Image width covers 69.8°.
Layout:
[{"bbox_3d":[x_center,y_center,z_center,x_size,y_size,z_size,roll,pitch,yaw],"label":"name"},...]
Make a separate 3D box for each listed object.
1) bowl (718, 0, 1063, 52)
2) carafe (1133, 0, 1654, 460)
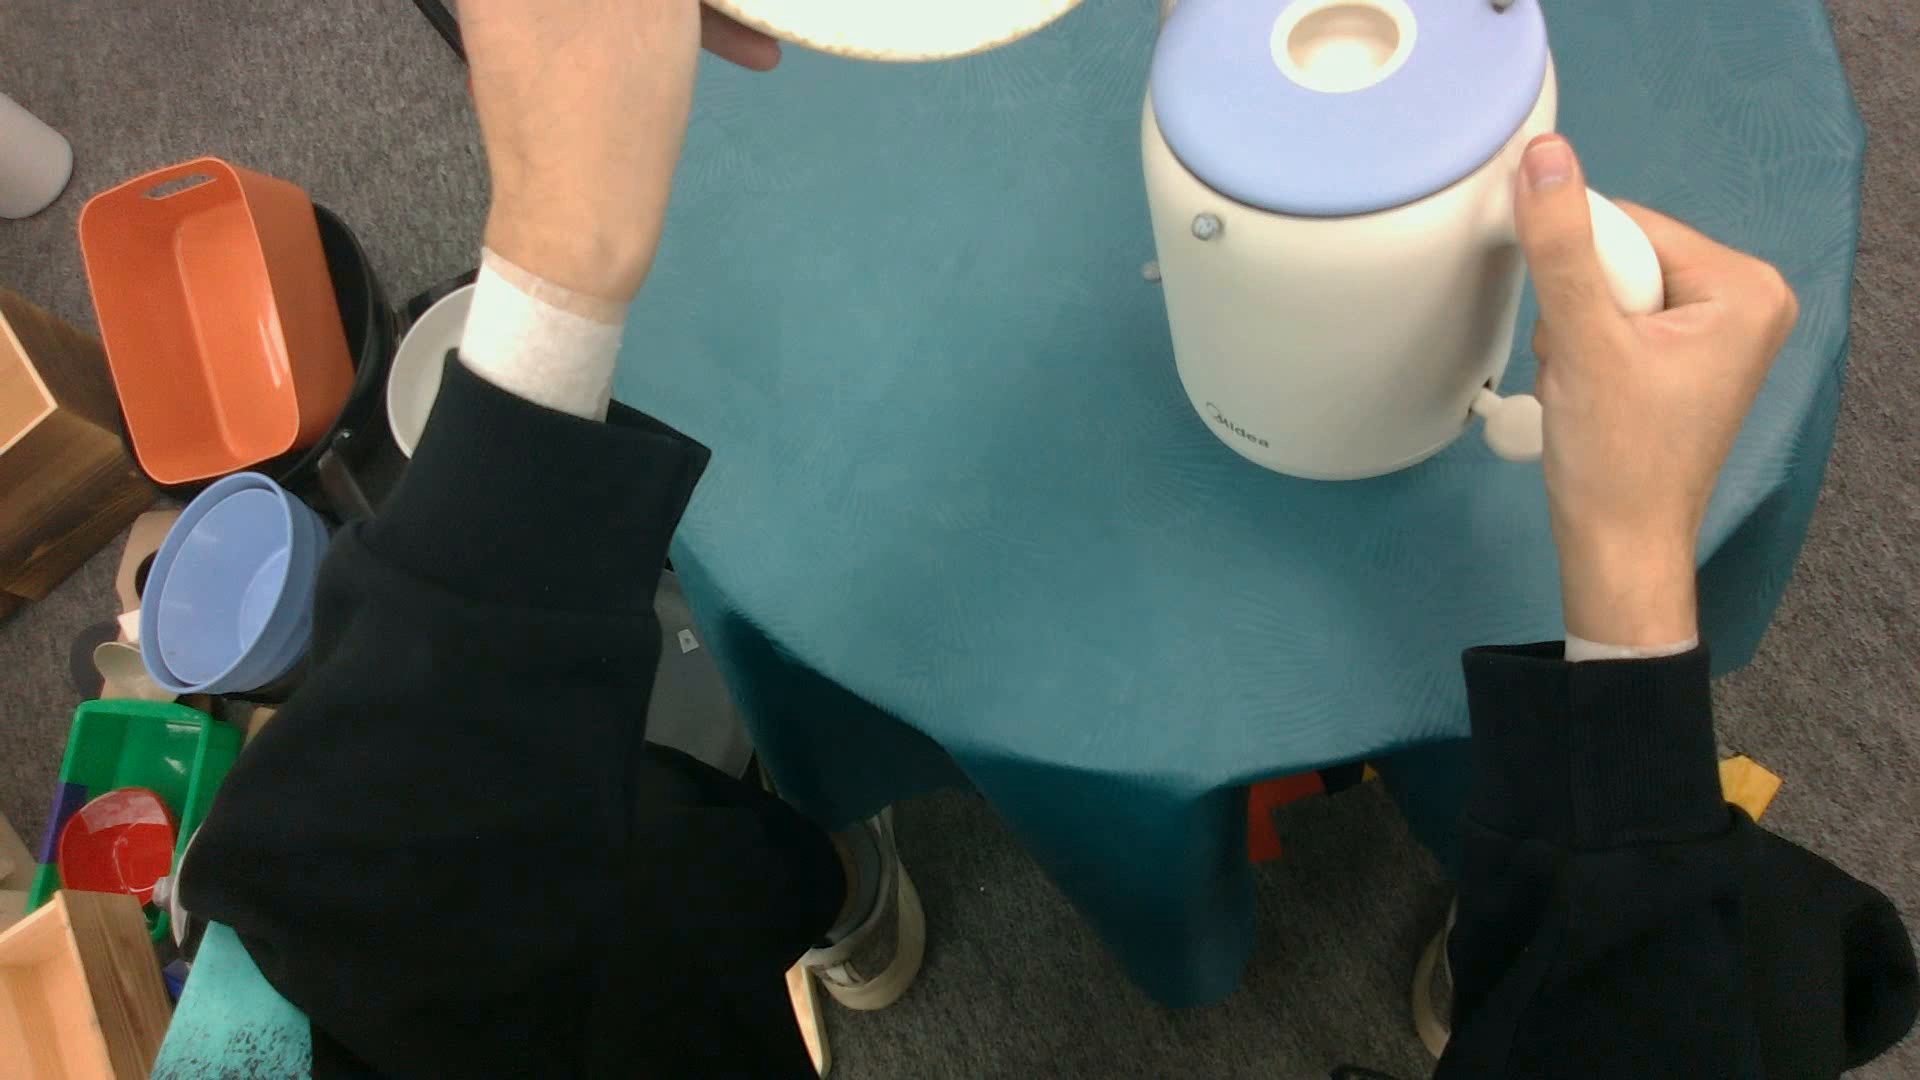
[{"bbox_3d":[-0.036,-0.248,0.435,0.204,0.078,0.204,-1,93,-17],"label":"bowl"},{"bbox_3d":[0.152,-0.109,0.494,0.191,0.182,0.132,36,79,23],"label":"carafe"}]
